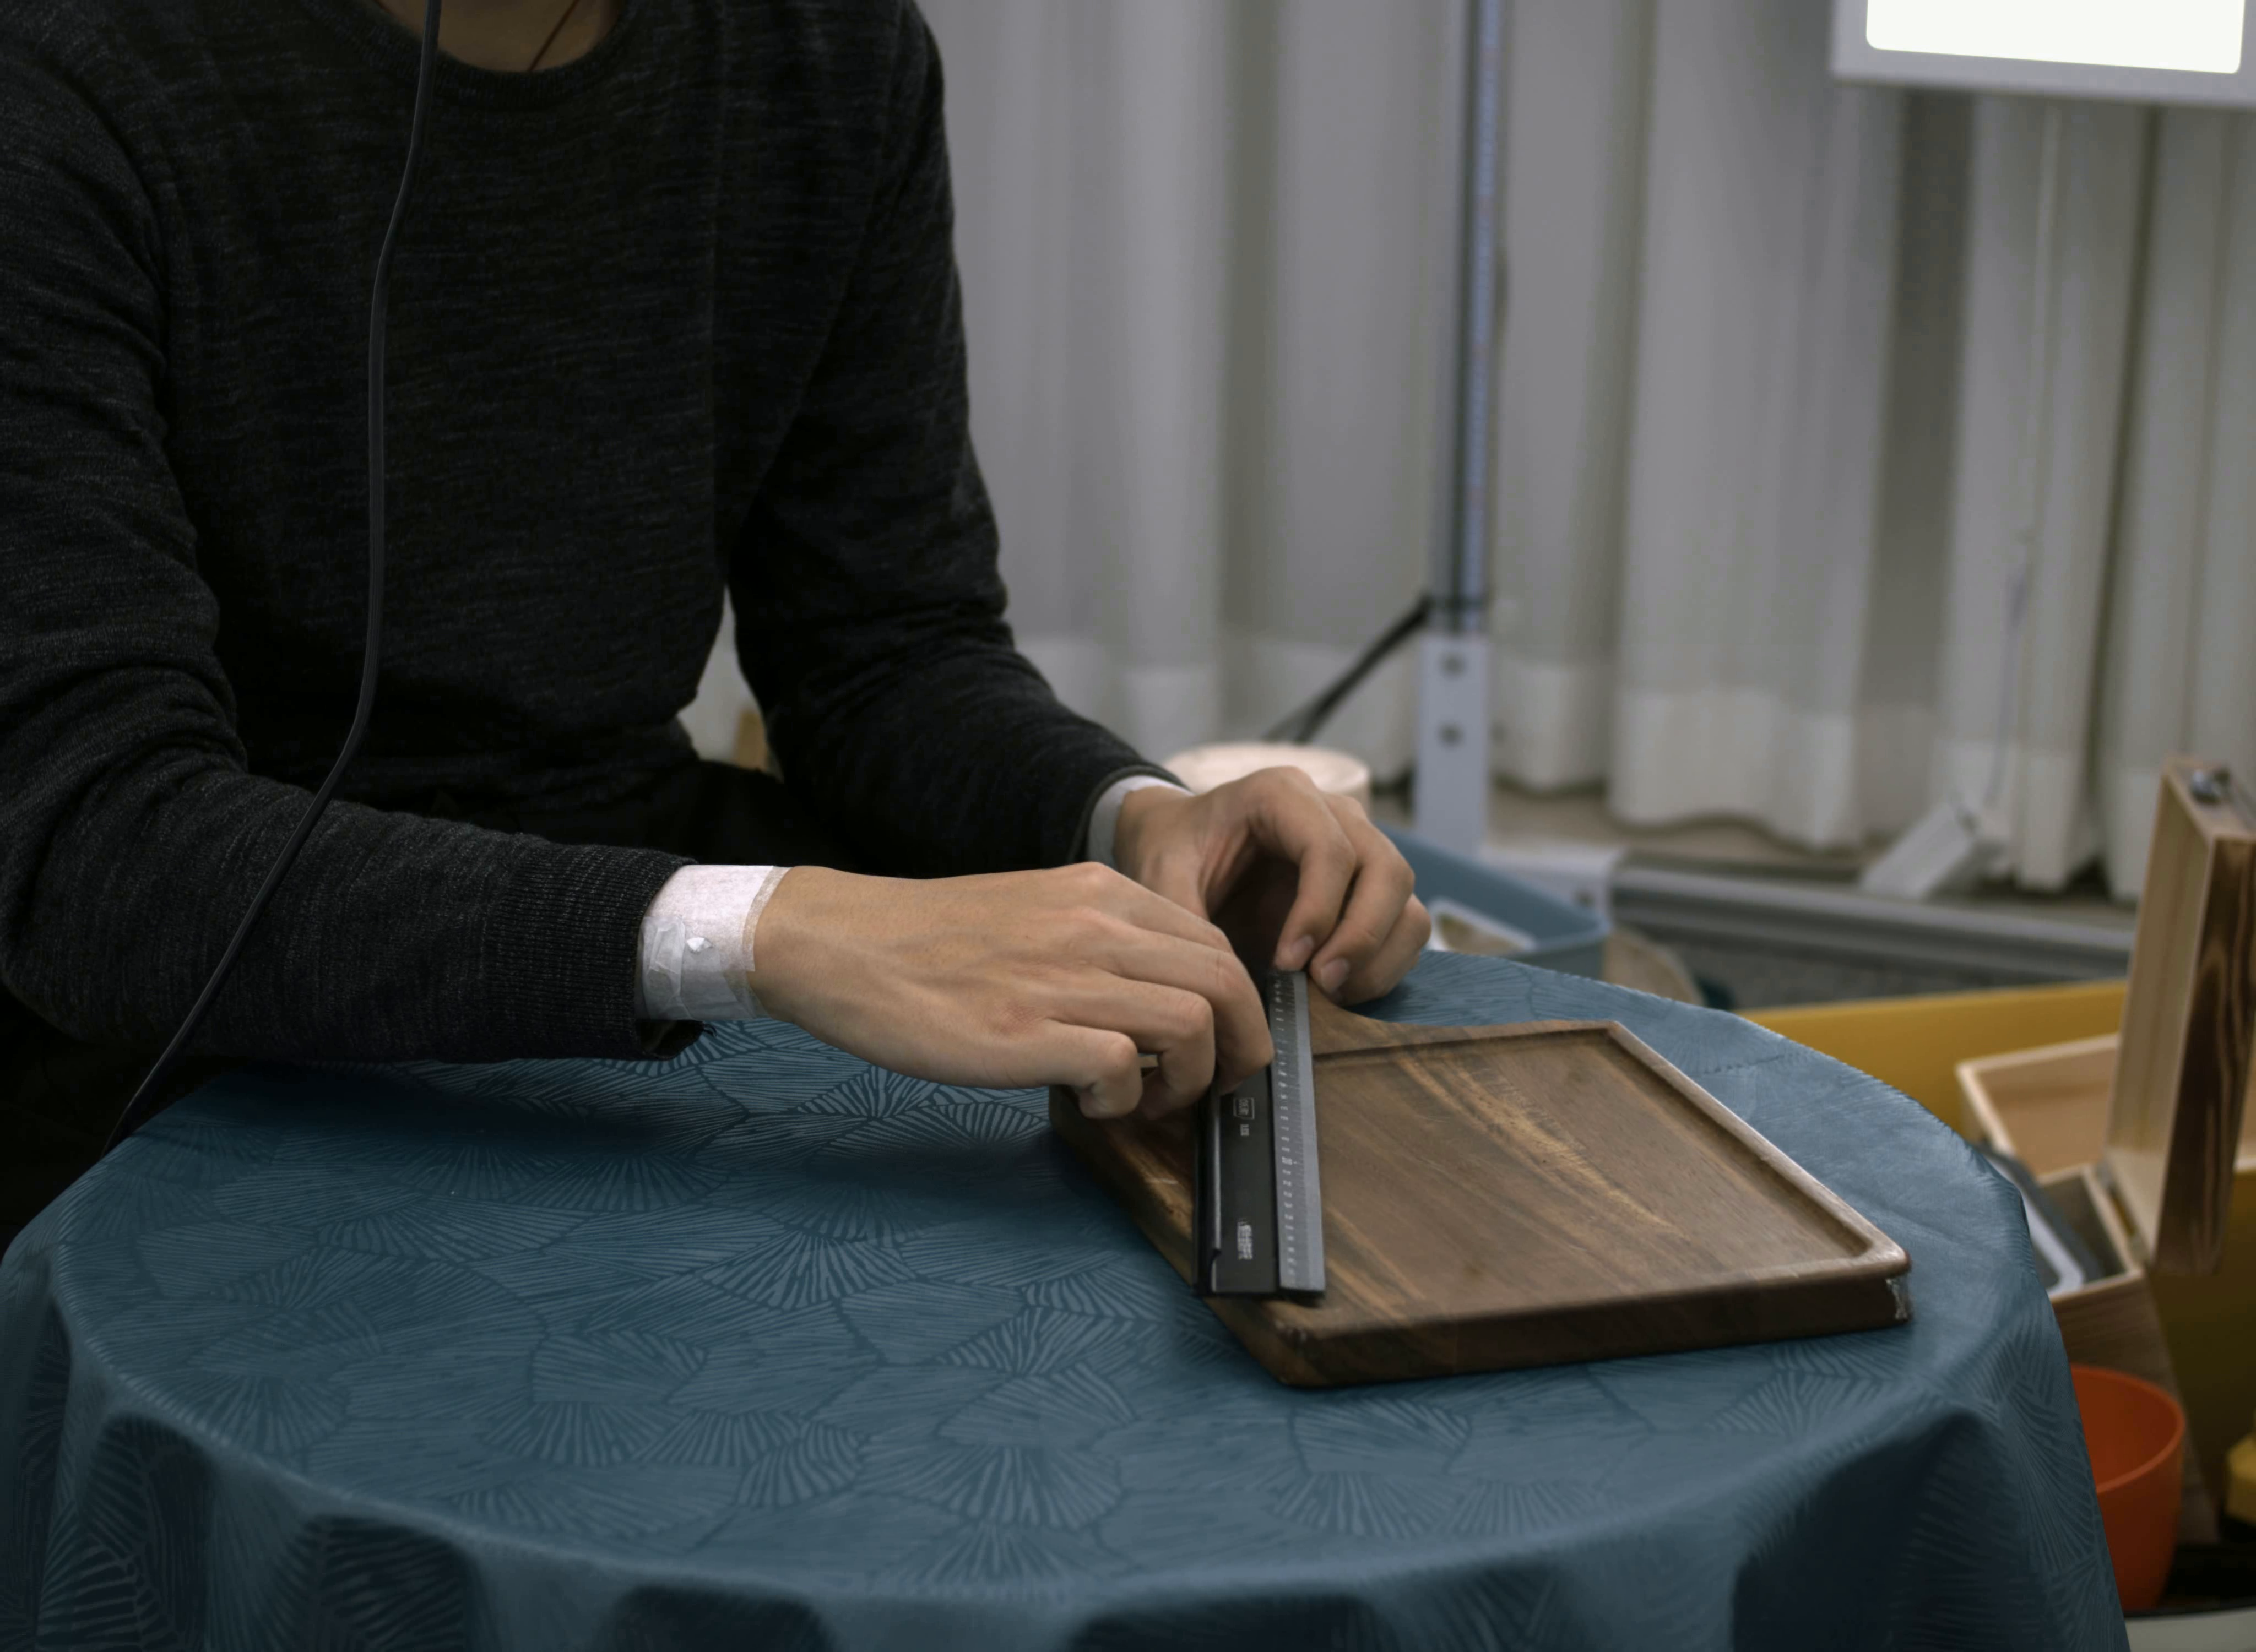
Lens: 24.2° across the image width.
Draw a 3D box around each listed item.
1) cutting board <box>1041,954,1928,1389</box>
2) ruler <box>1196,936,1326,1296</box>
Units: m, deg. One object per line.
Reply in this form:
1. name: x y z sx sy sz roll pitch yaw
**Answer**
1. cutting board: 0.087 0.097 1.641 0.201 0.023 0.348 -4 16 -17
2. ruler: 0.041 0.084 1.620 0.039 0.017 0.311 3 15 1
